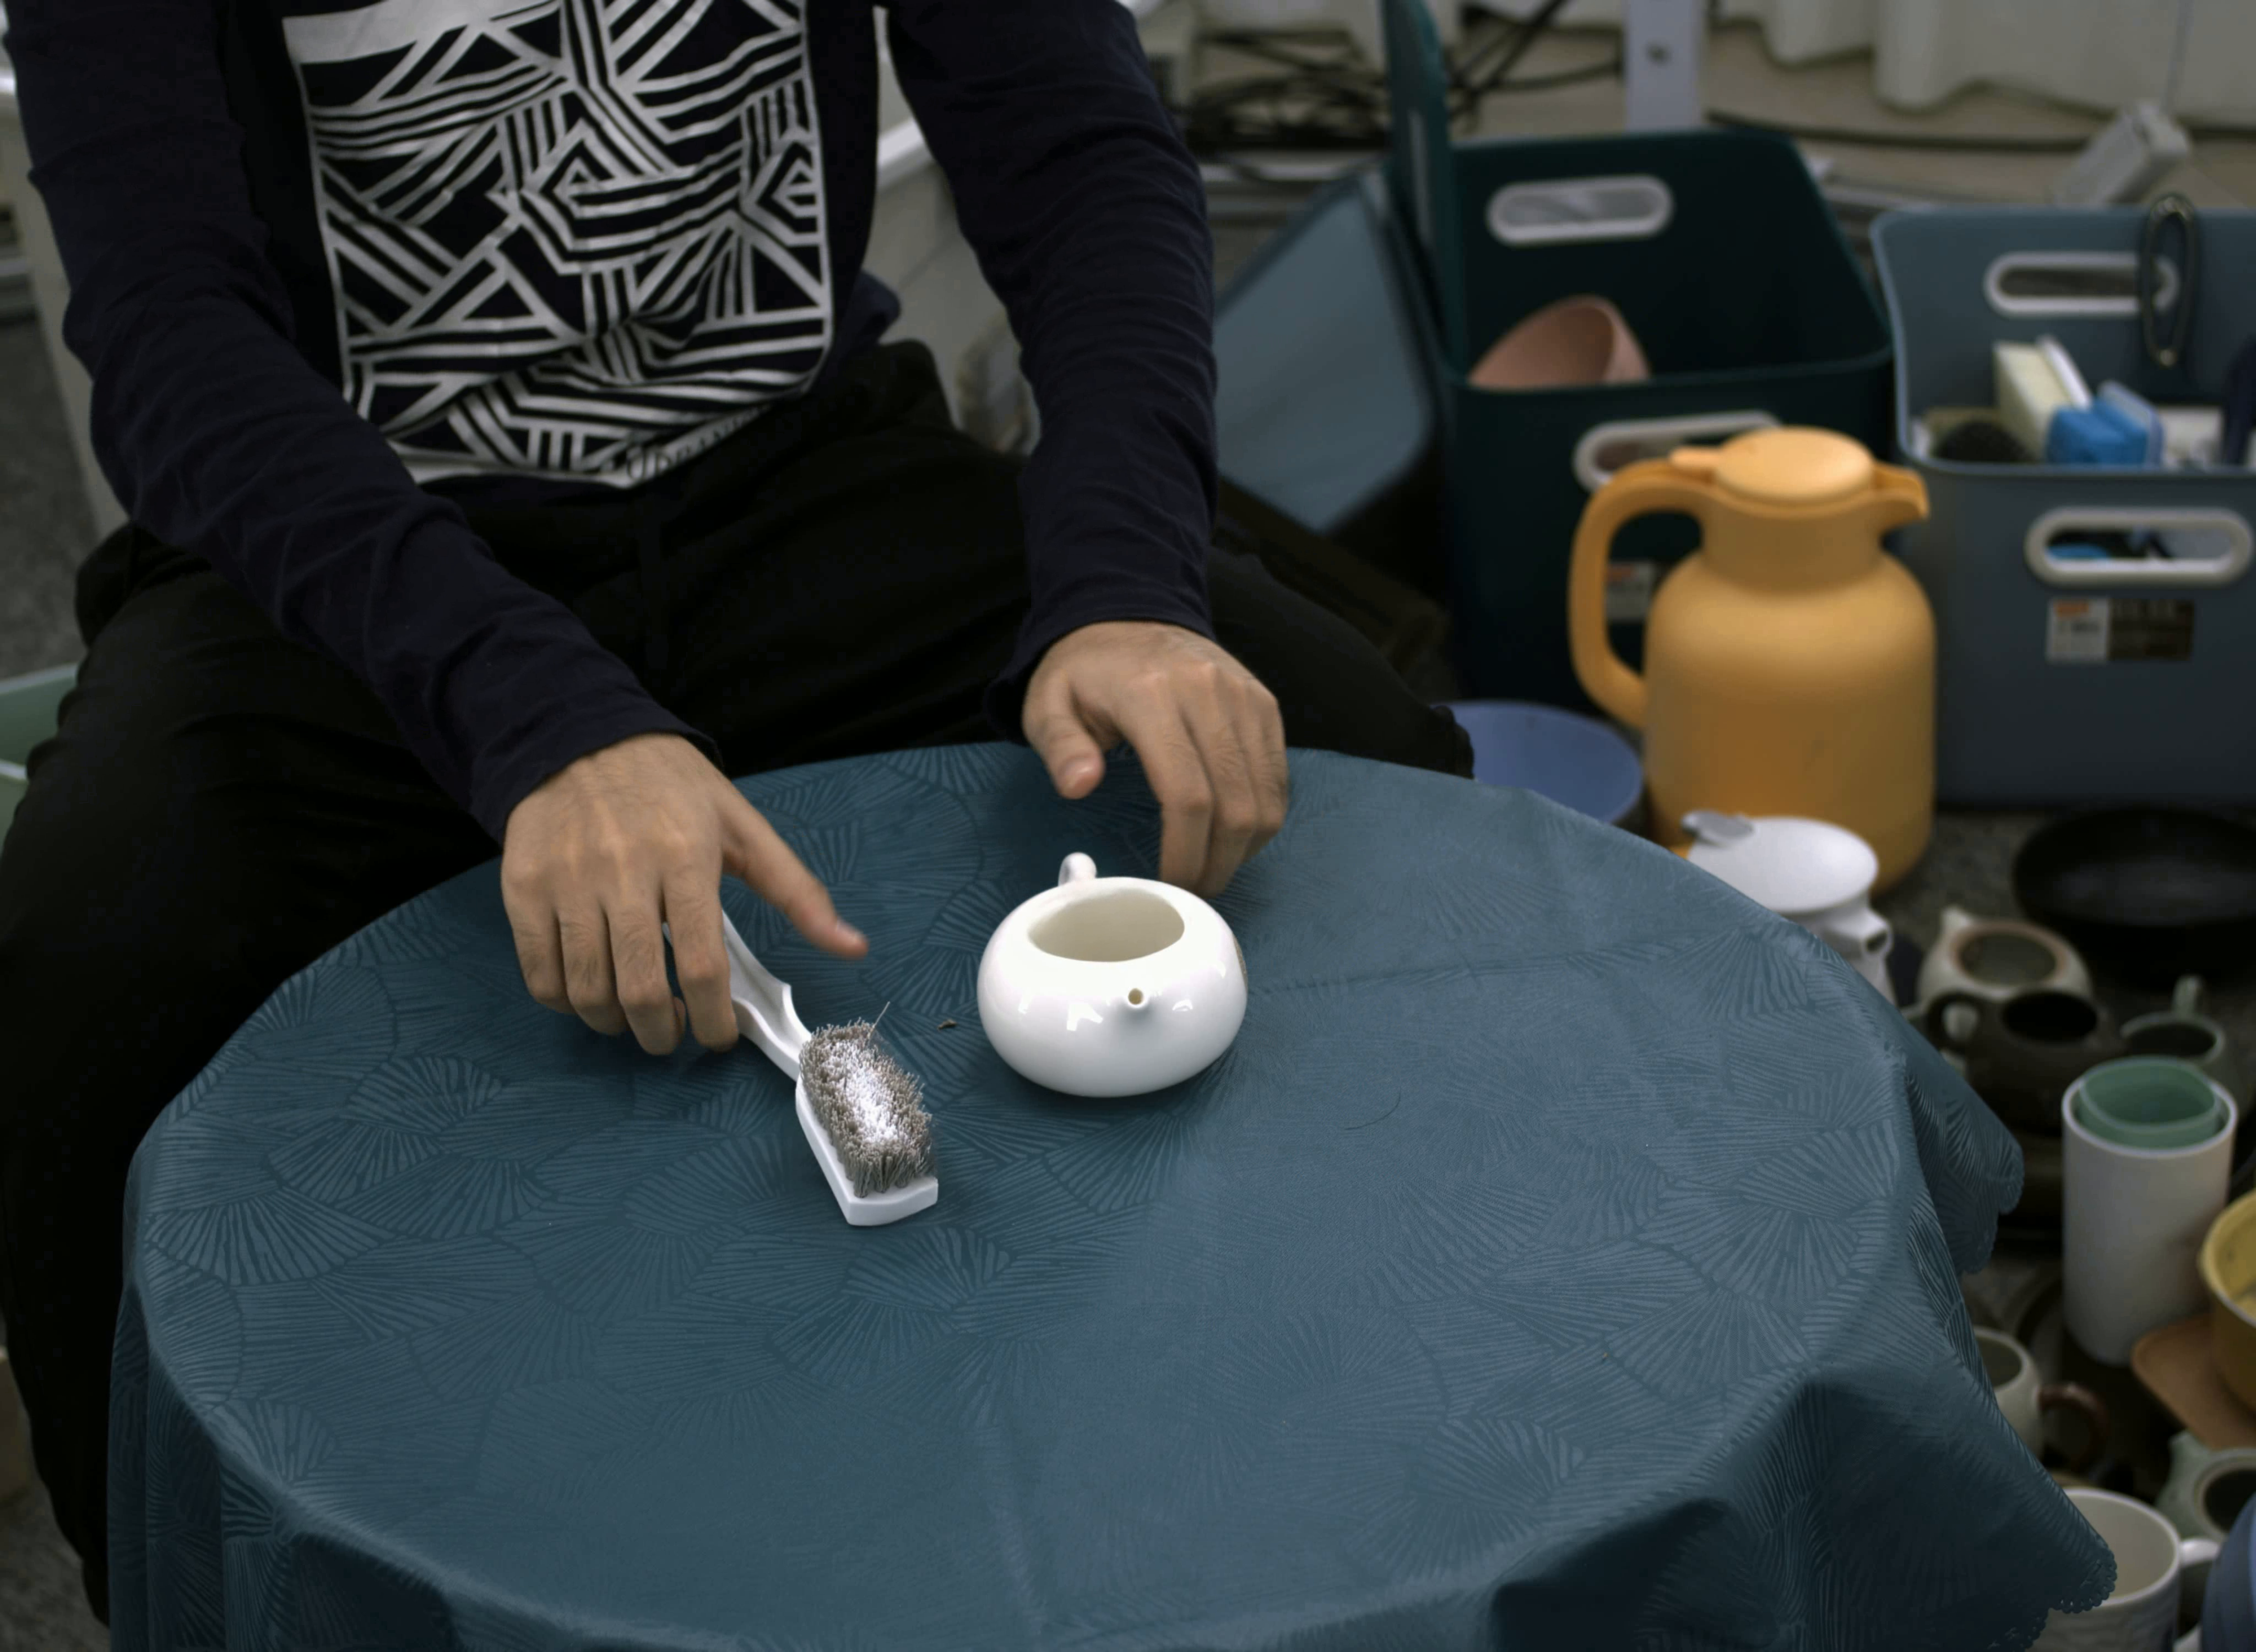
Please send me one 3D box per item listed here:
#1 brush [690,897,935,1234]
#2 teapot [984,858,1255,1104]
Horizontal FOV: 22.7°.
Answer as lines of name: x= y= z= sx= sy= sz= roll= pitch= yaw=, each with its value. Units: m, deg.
brush: x=-0.114 y=0.065 z=1.930 sx=0.034 sy=0.049 sz=0.246 roll=-15 pitch=29 yaw=-13
teapot: x=-0.006 y=0.053 z=1.937 sx=0.093 sy=0.056 sz=0.128 roll=-14 pitch=27 yaw=-11
